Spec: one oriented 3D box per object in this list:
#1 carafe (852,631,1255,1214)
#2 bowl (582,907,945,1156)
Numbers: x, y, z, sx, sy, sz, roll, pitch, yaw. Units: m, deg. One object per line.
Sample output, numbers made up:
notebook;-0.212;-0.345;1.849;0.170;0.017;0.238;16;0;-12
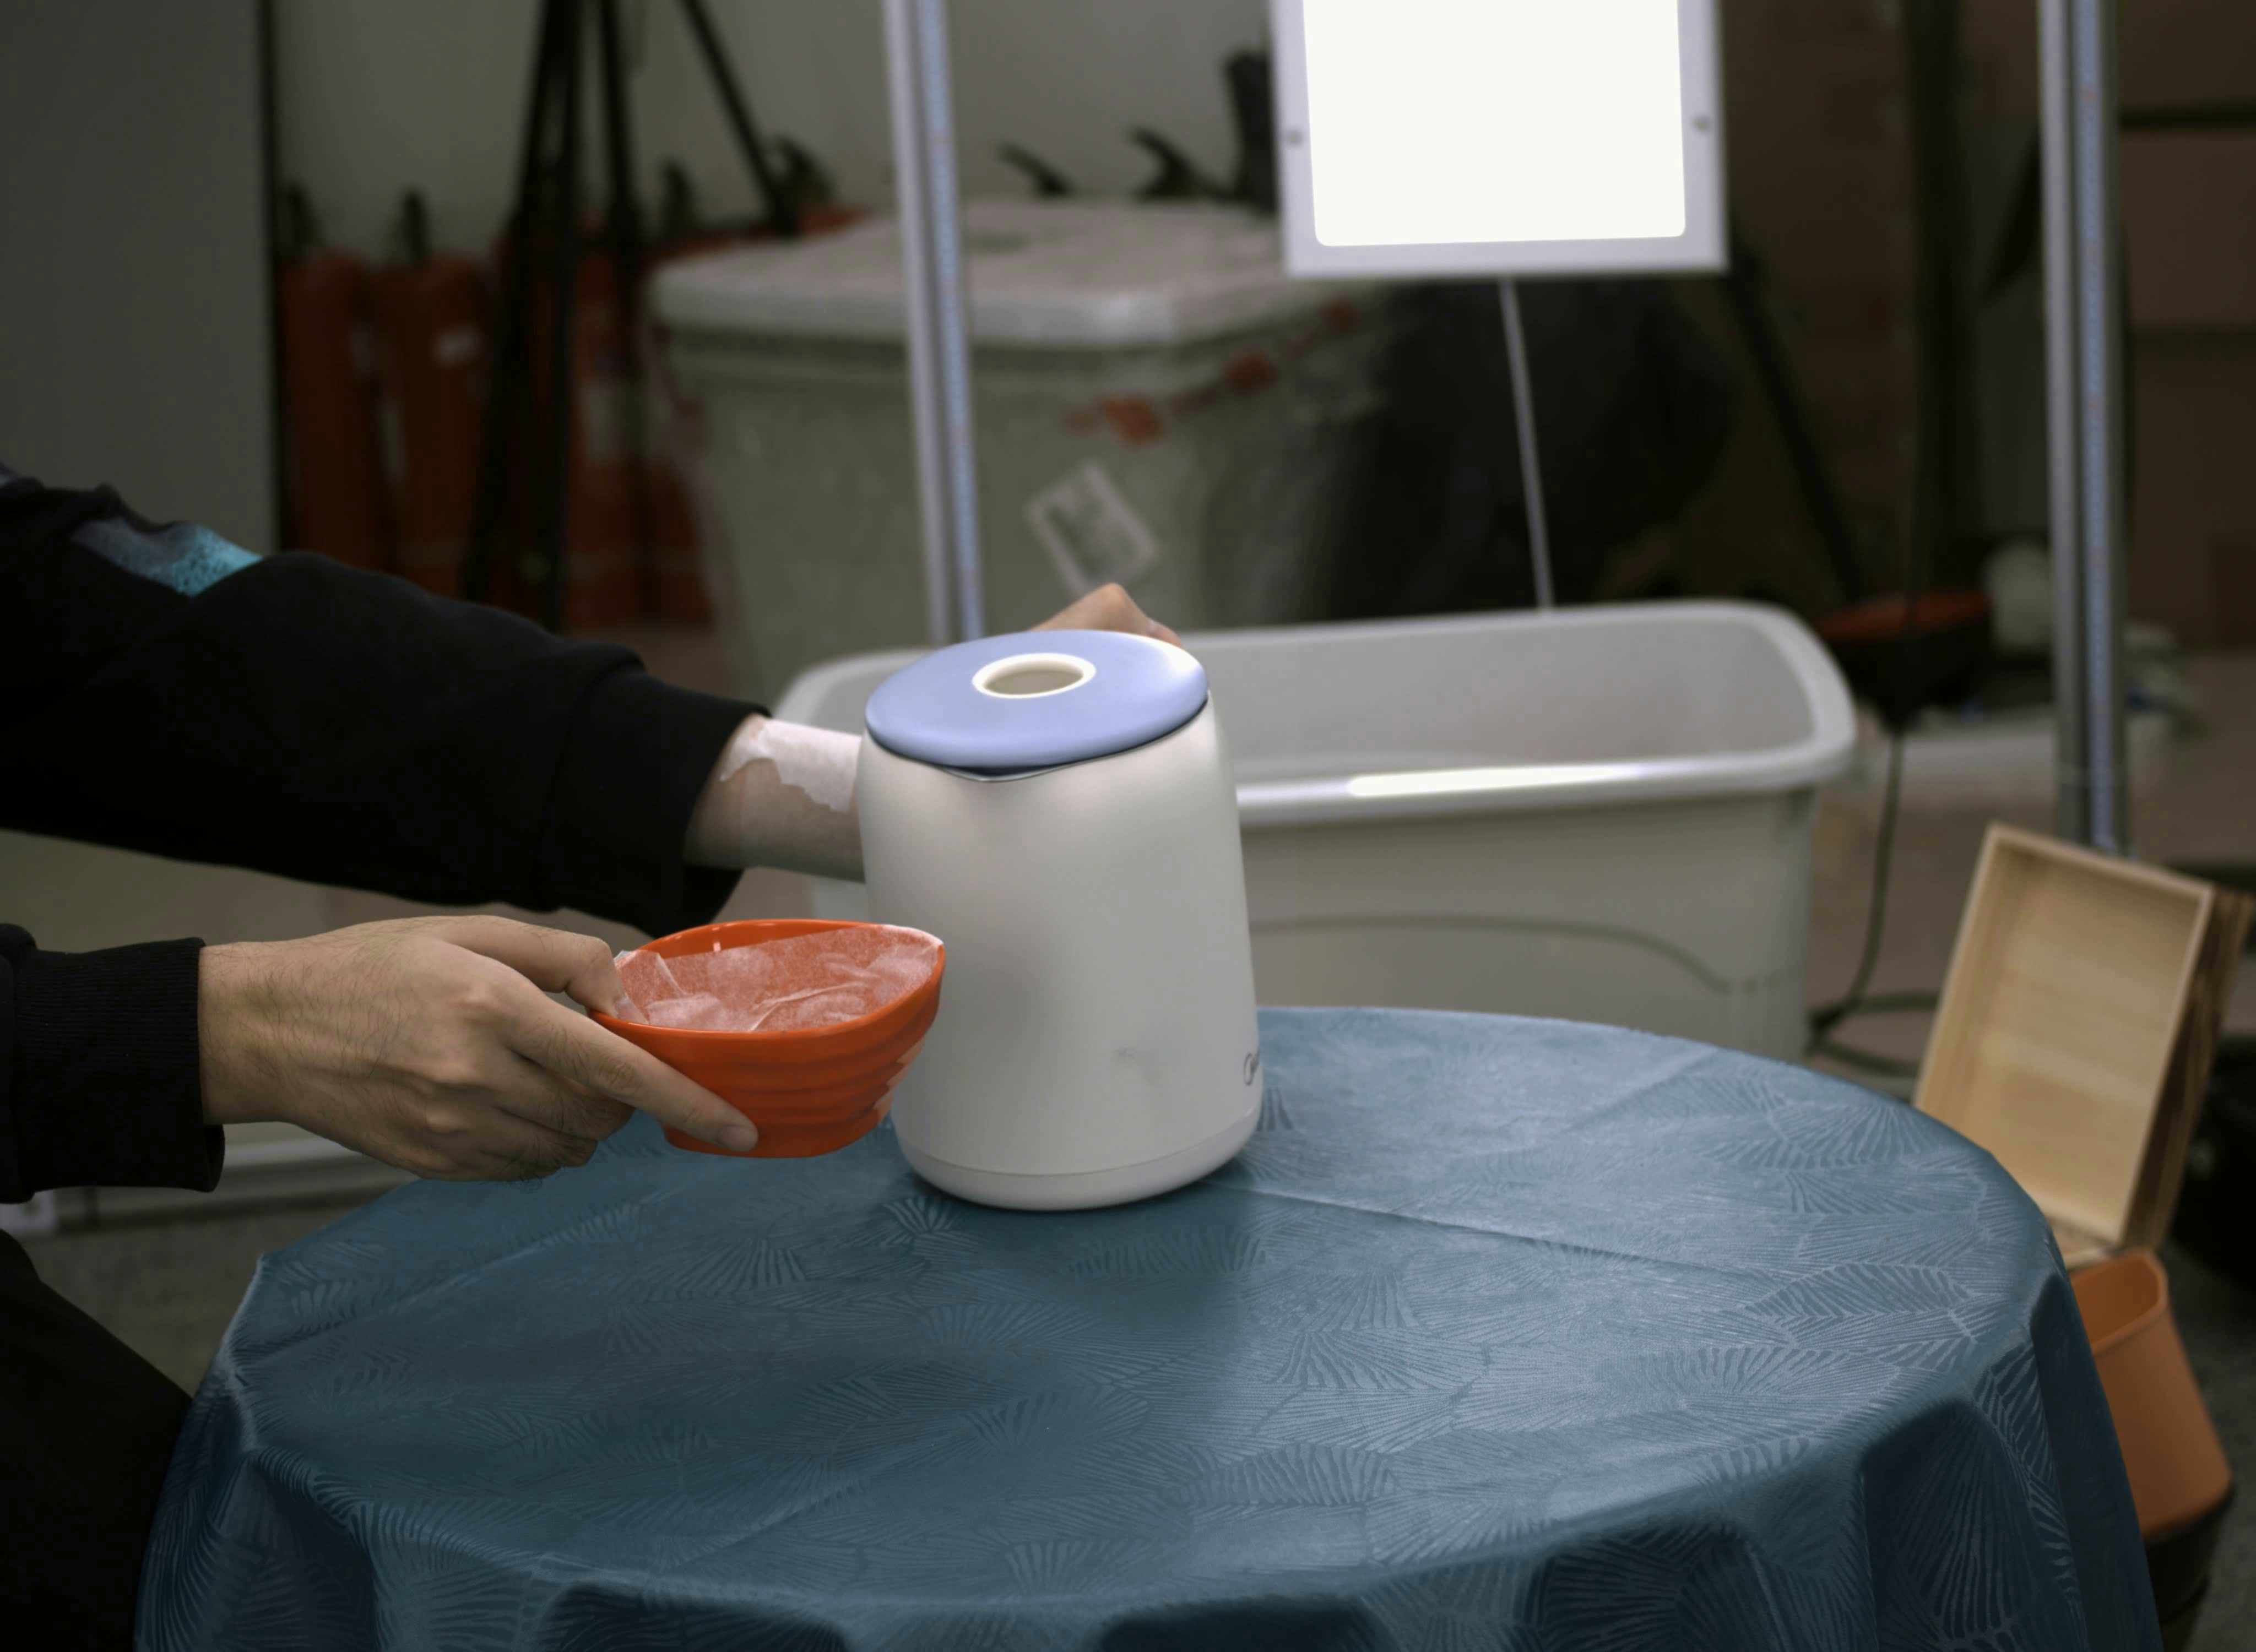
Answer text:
carafe;-0.021;0.024;1.924;0.133;0.183;0.189;0;19;11
bowl;-0.114;0.068;1.750;0.118;0.051;0.118;-3;20;0
